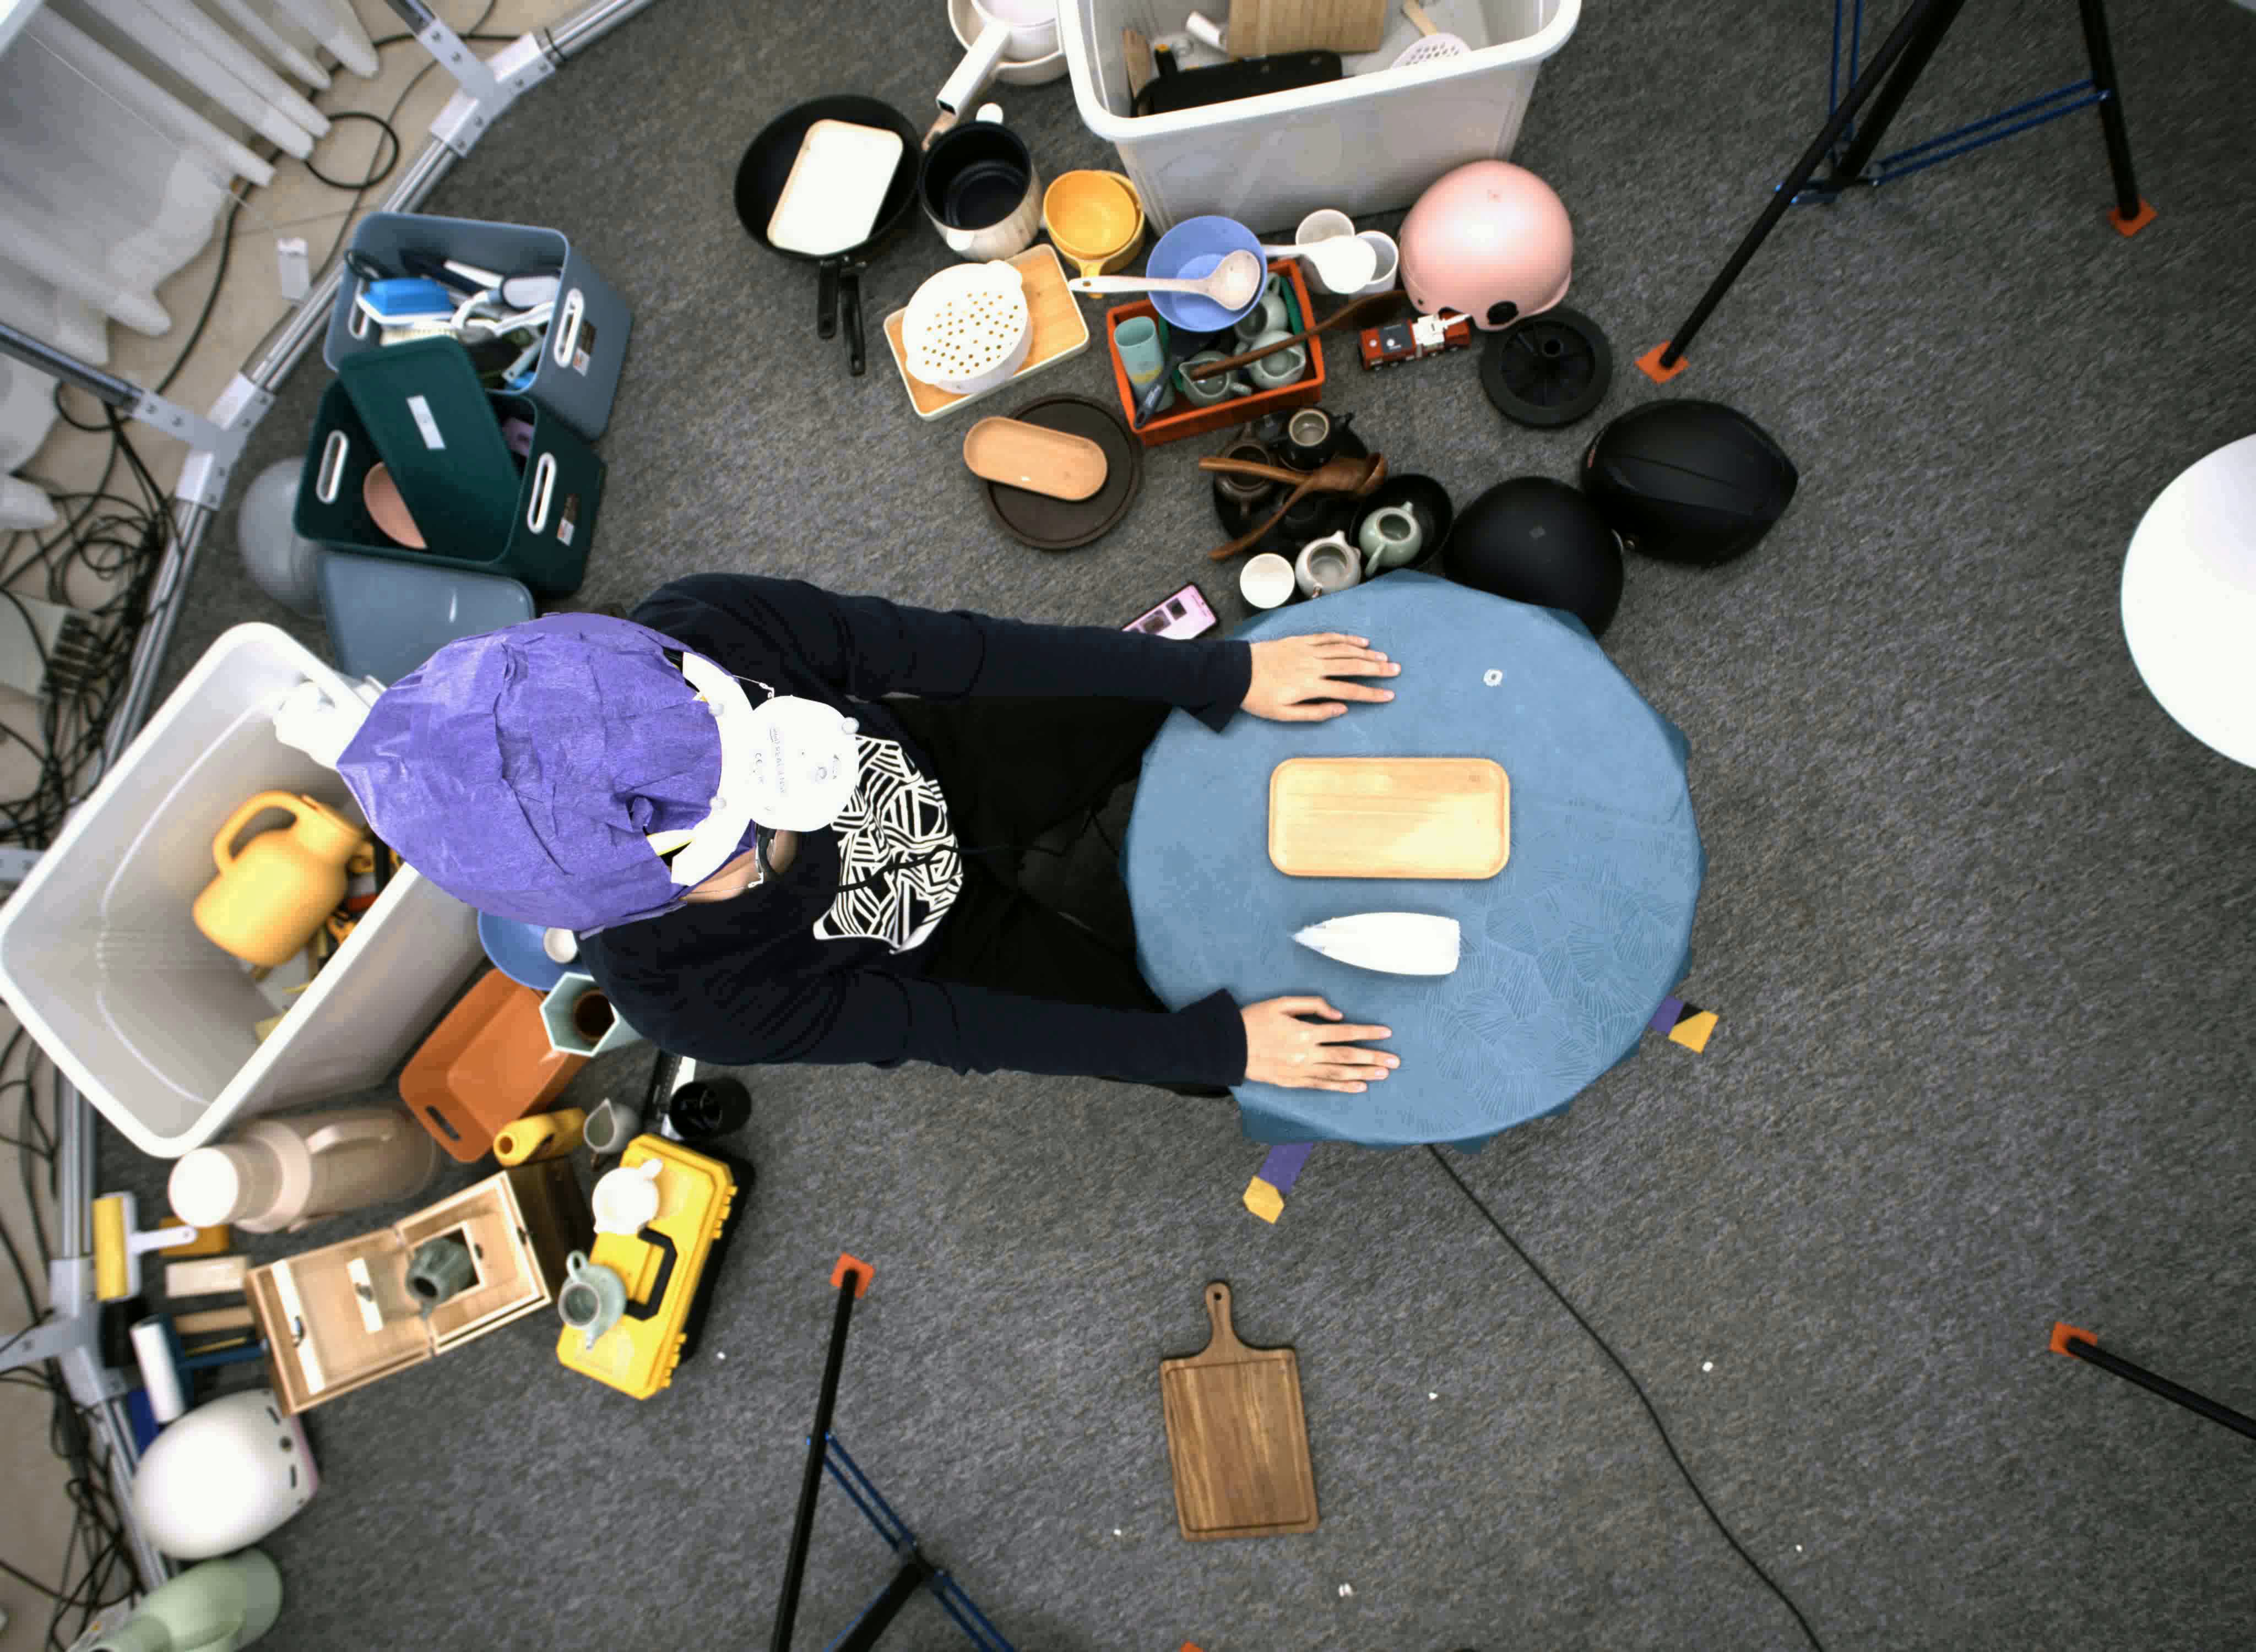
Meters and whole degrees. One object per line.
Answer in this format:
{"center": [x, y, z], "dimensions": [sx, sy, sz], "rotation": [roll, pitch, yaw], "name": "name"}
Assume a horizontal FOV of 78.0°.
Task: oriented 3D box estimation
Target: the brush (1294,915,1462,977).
{"center": [0.254, 0.118, 1.413], "dimensions": [0.176, 0.094, 0.061], "rotation": [3, 84, 13], "name": "brush"}

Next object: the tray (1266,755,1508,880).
{"center": [0.272, -0.011, 1.454], "dimensions": [0.251, 0.023, 0.130], "rotation": [2, 85, 12], "name": "tray"}
